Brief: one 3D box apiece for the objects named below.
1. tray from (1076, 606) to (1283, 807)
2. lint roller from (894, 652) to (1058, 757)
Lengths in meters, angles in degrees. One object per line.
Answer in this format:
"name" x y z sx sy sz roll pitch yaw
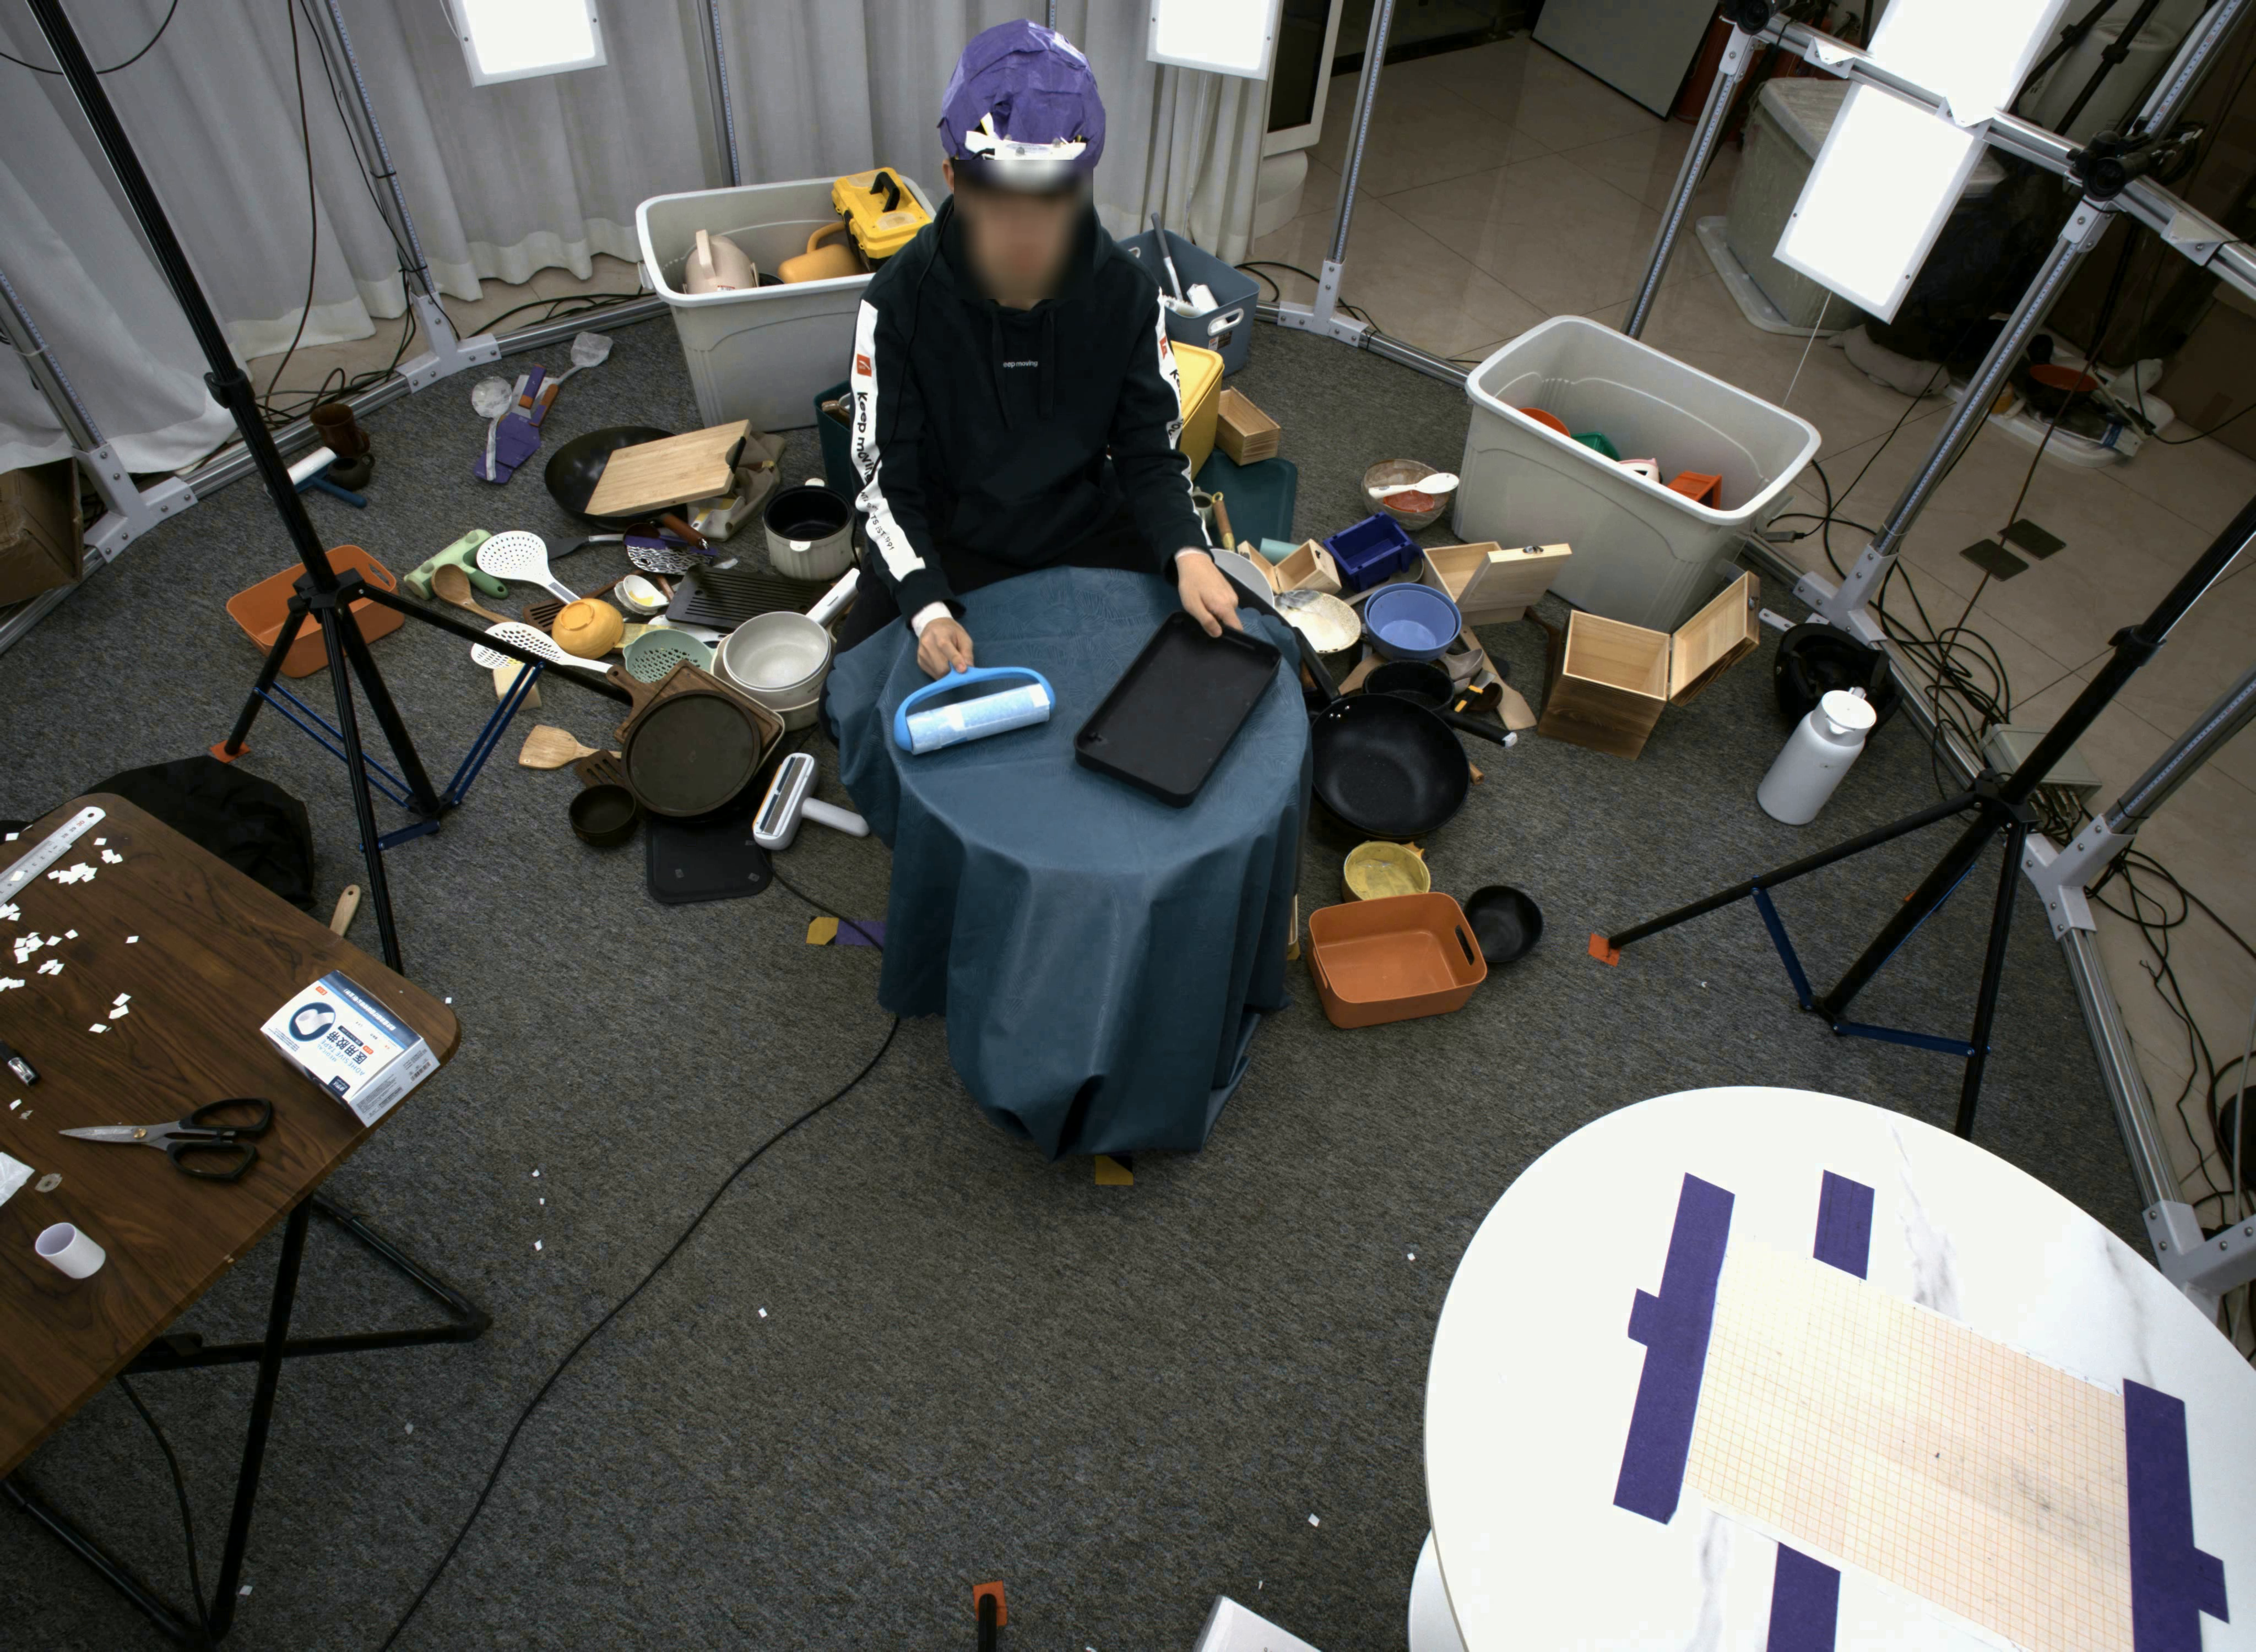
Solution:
"tray" 0.076 -0.173 1.792 0.185 0.036 0.323 22 55 16
"lint roller" -0.229 -0.191 1.778 0.229 0.066 0.184 -20 57 -17
